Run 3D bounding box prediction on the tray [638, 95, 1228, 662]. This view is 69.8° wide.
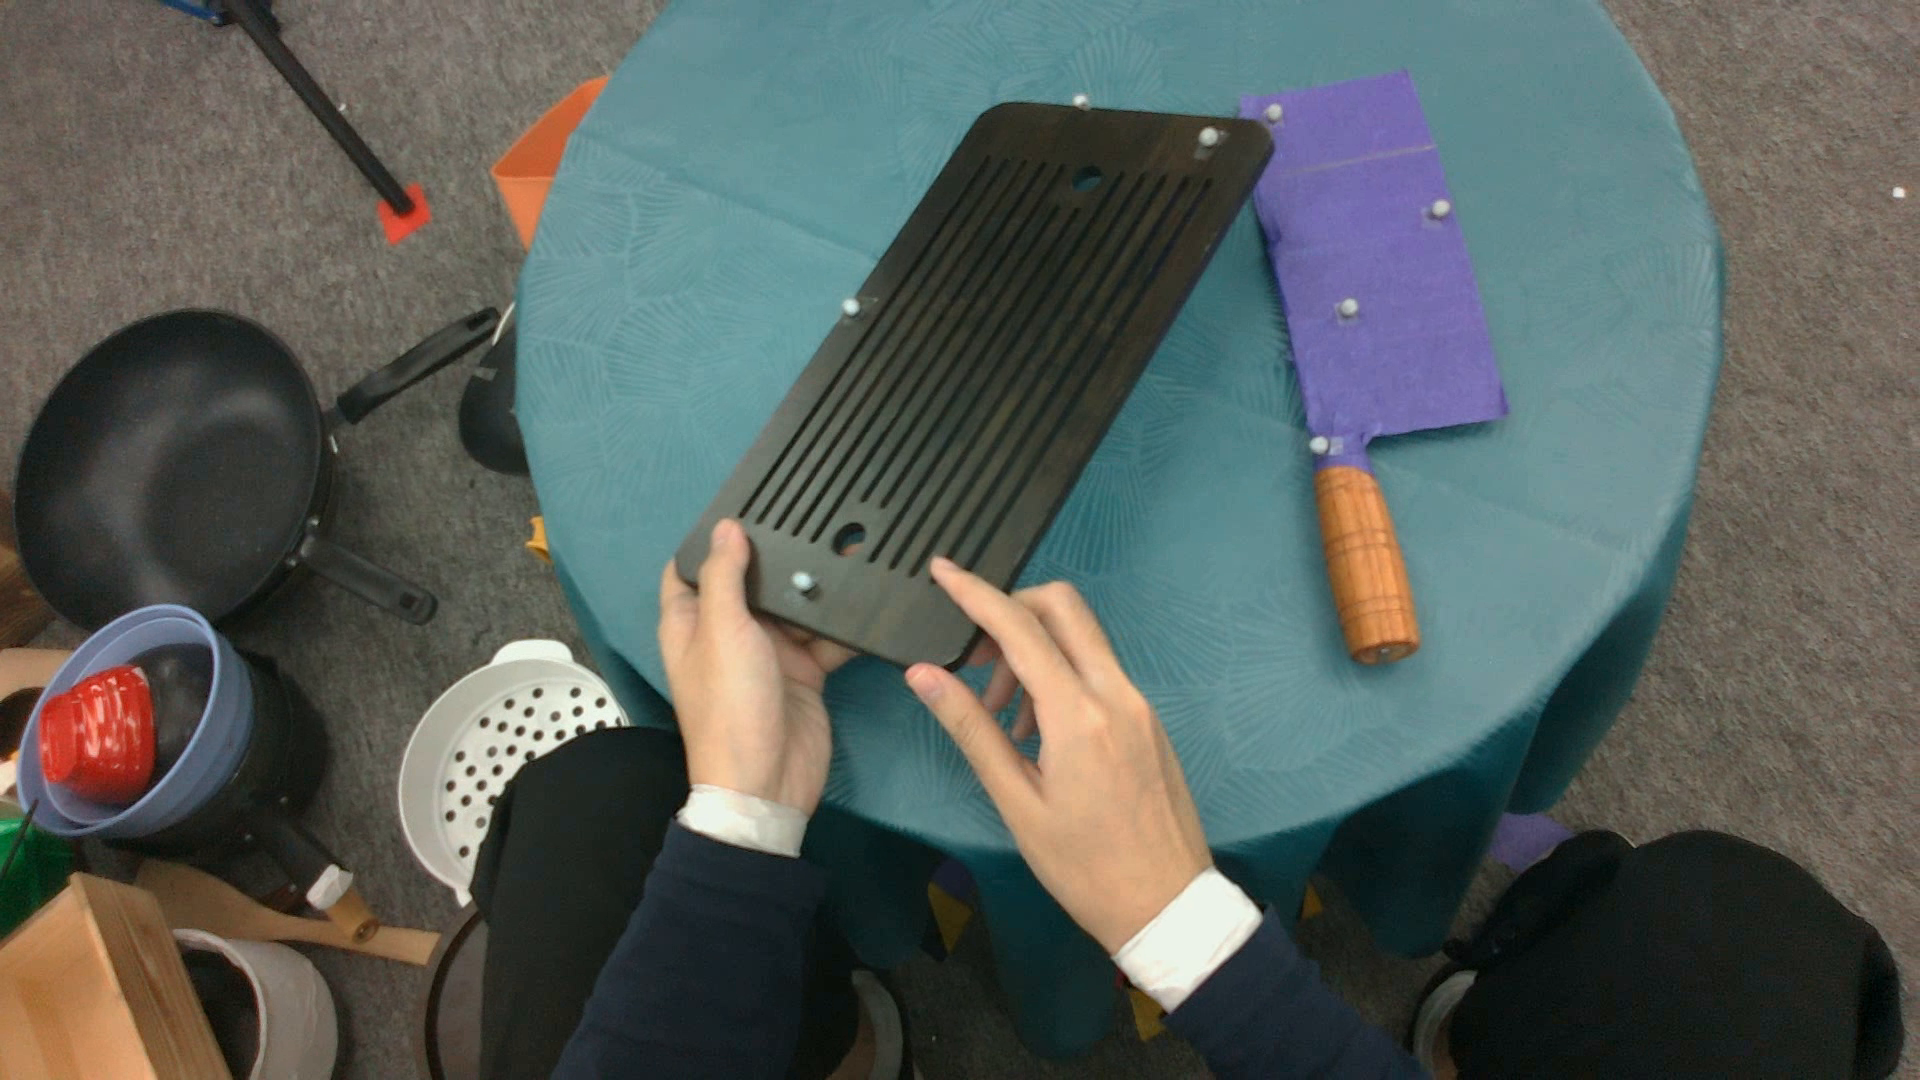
[{"bbox_3d":[-0.010,-0.091,0.635,0.170,0.018,0.307,16,65,35],"label":"tray"}]

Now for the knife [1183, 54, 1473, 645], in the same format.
[{"bbox_3d":[0.187,-0.107,0.653,0.104,0.032,0.316,-10,67,3],"label":"knife"}]
